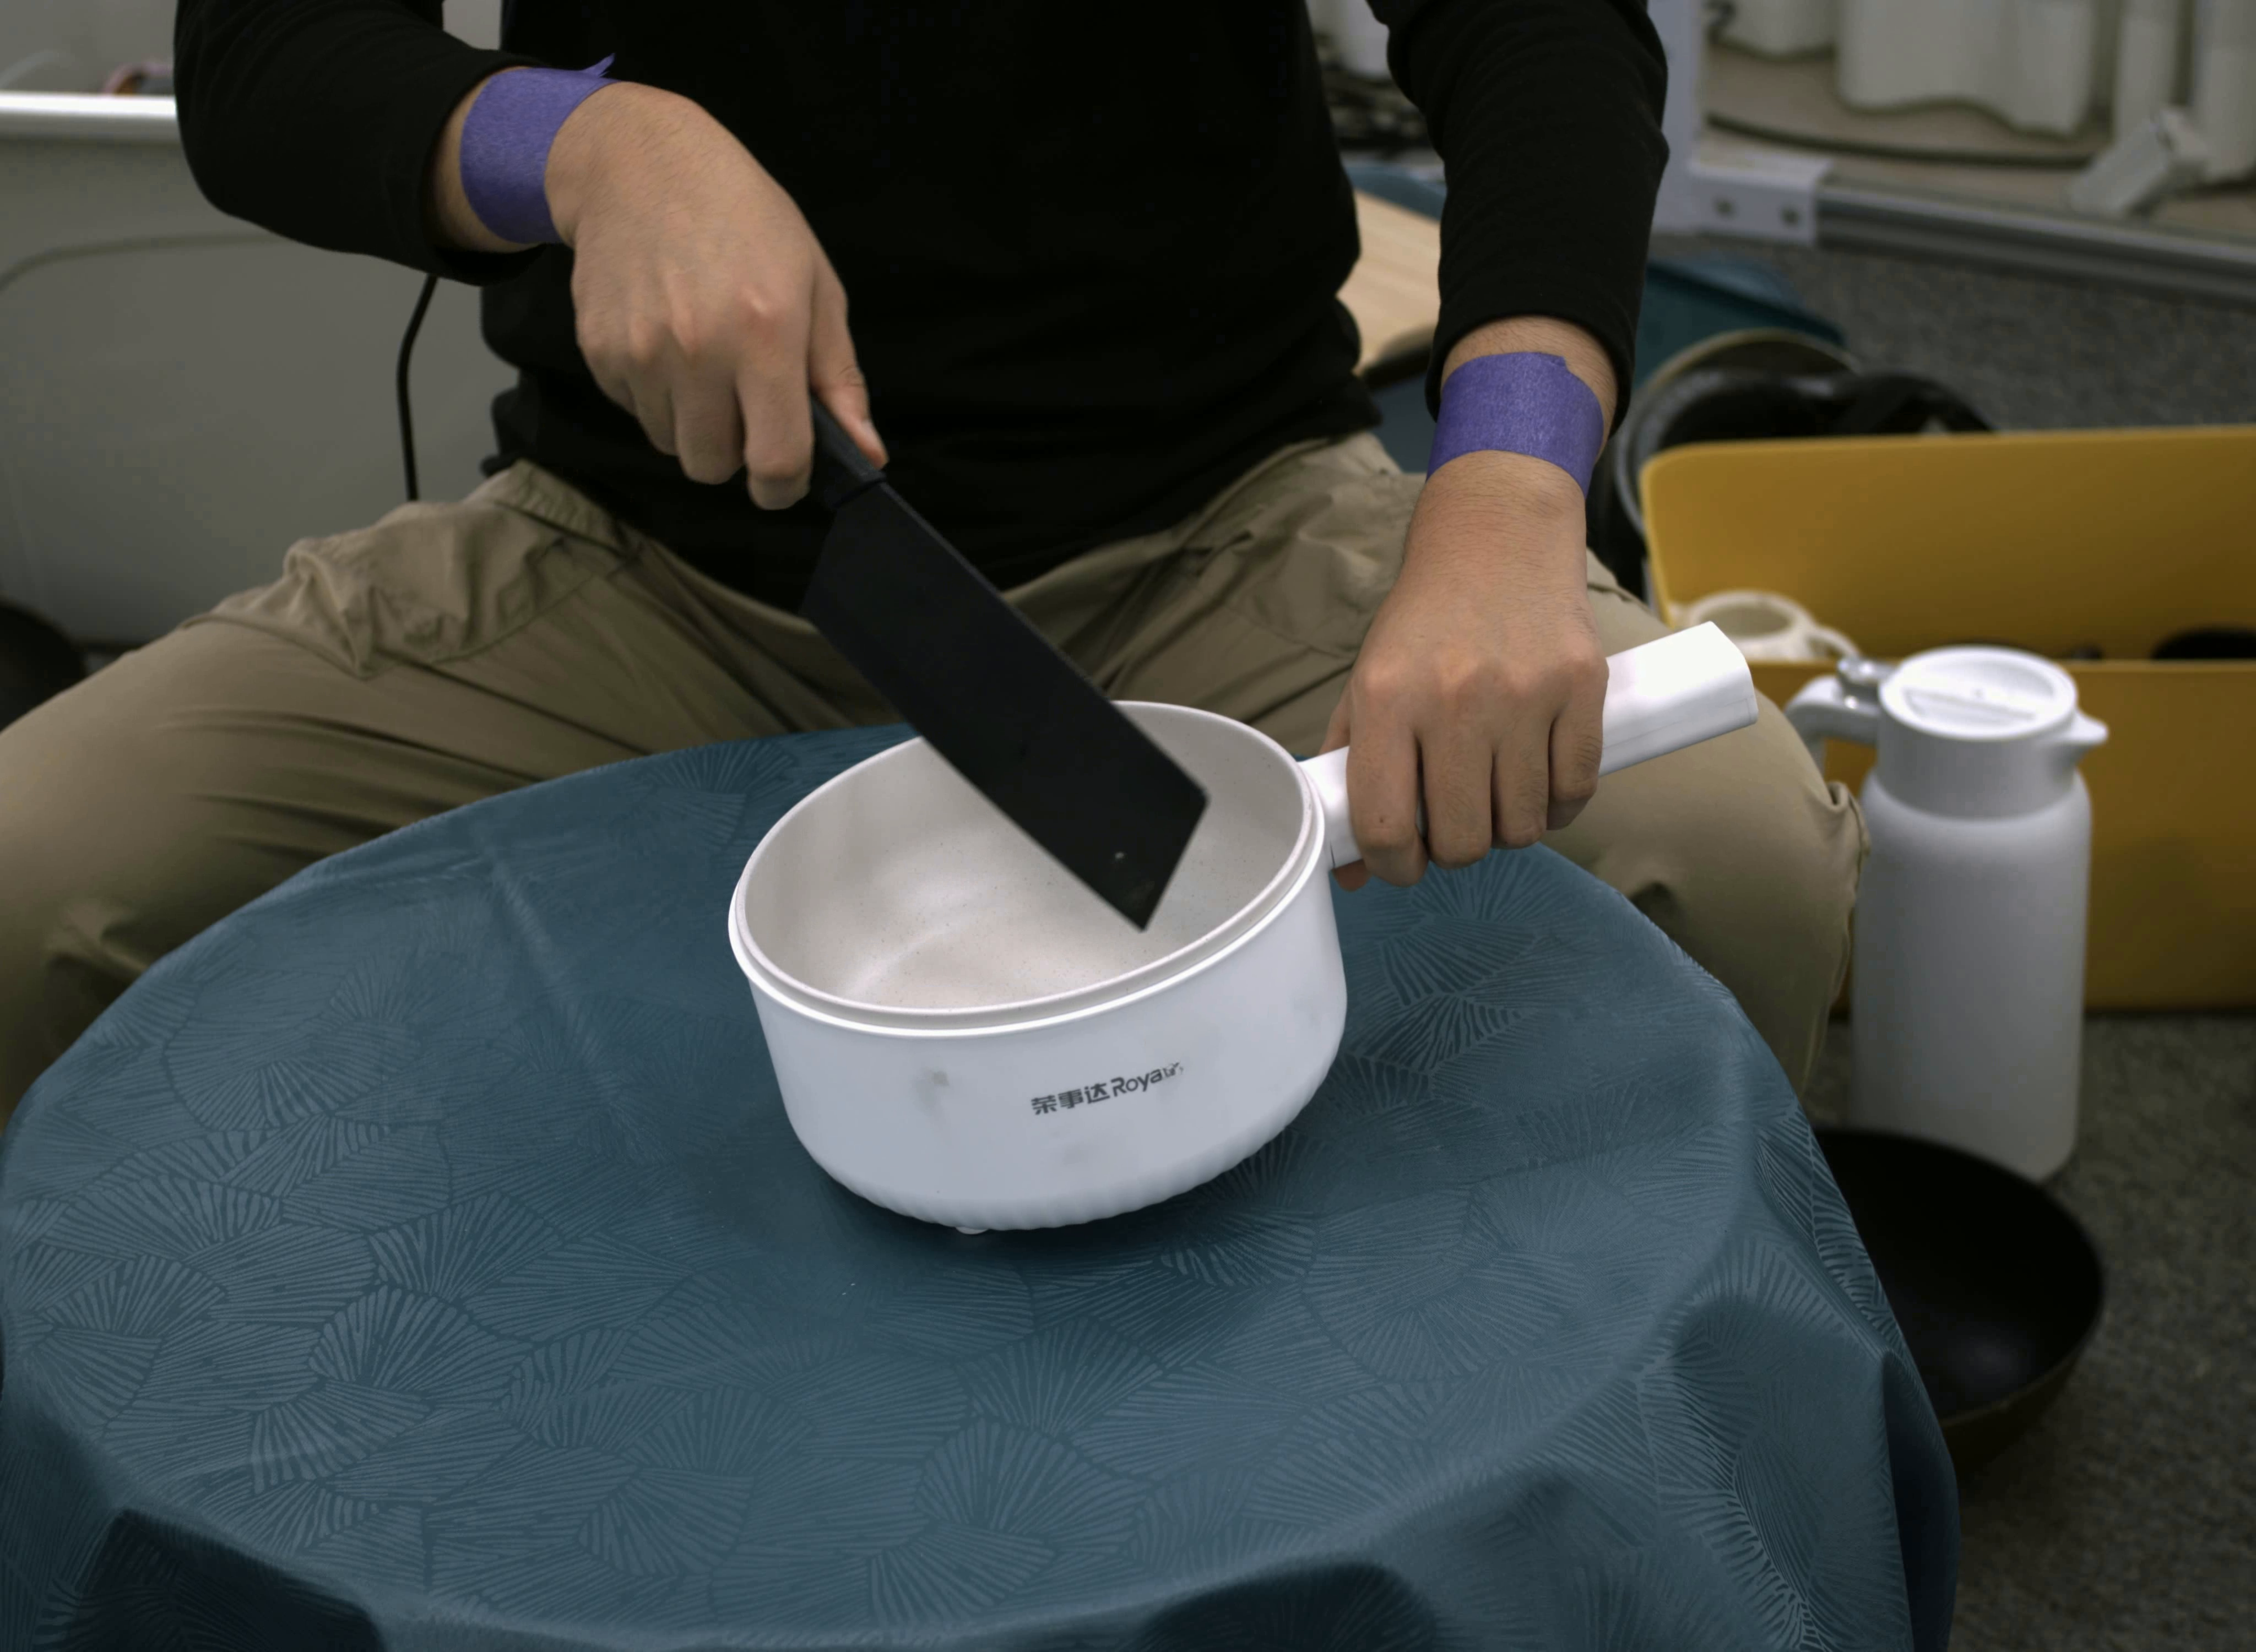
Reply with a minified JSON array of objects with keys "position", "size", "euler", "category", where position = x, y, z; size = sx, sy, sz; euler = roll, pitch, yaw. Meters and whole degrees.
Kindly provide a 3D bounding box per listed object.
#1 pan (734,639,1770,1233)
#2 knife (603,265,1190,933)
[{"position":[0.048,0.030,1.891],"size":[0.355,0.101,0.203],"euler":[-16,29,-11],"category":"pan"},{"position":[-0.082,-0.083,1.880],"size":[0.021,0.079,0.304],"euler":[-14,54,-45],"category":"knife"}]
